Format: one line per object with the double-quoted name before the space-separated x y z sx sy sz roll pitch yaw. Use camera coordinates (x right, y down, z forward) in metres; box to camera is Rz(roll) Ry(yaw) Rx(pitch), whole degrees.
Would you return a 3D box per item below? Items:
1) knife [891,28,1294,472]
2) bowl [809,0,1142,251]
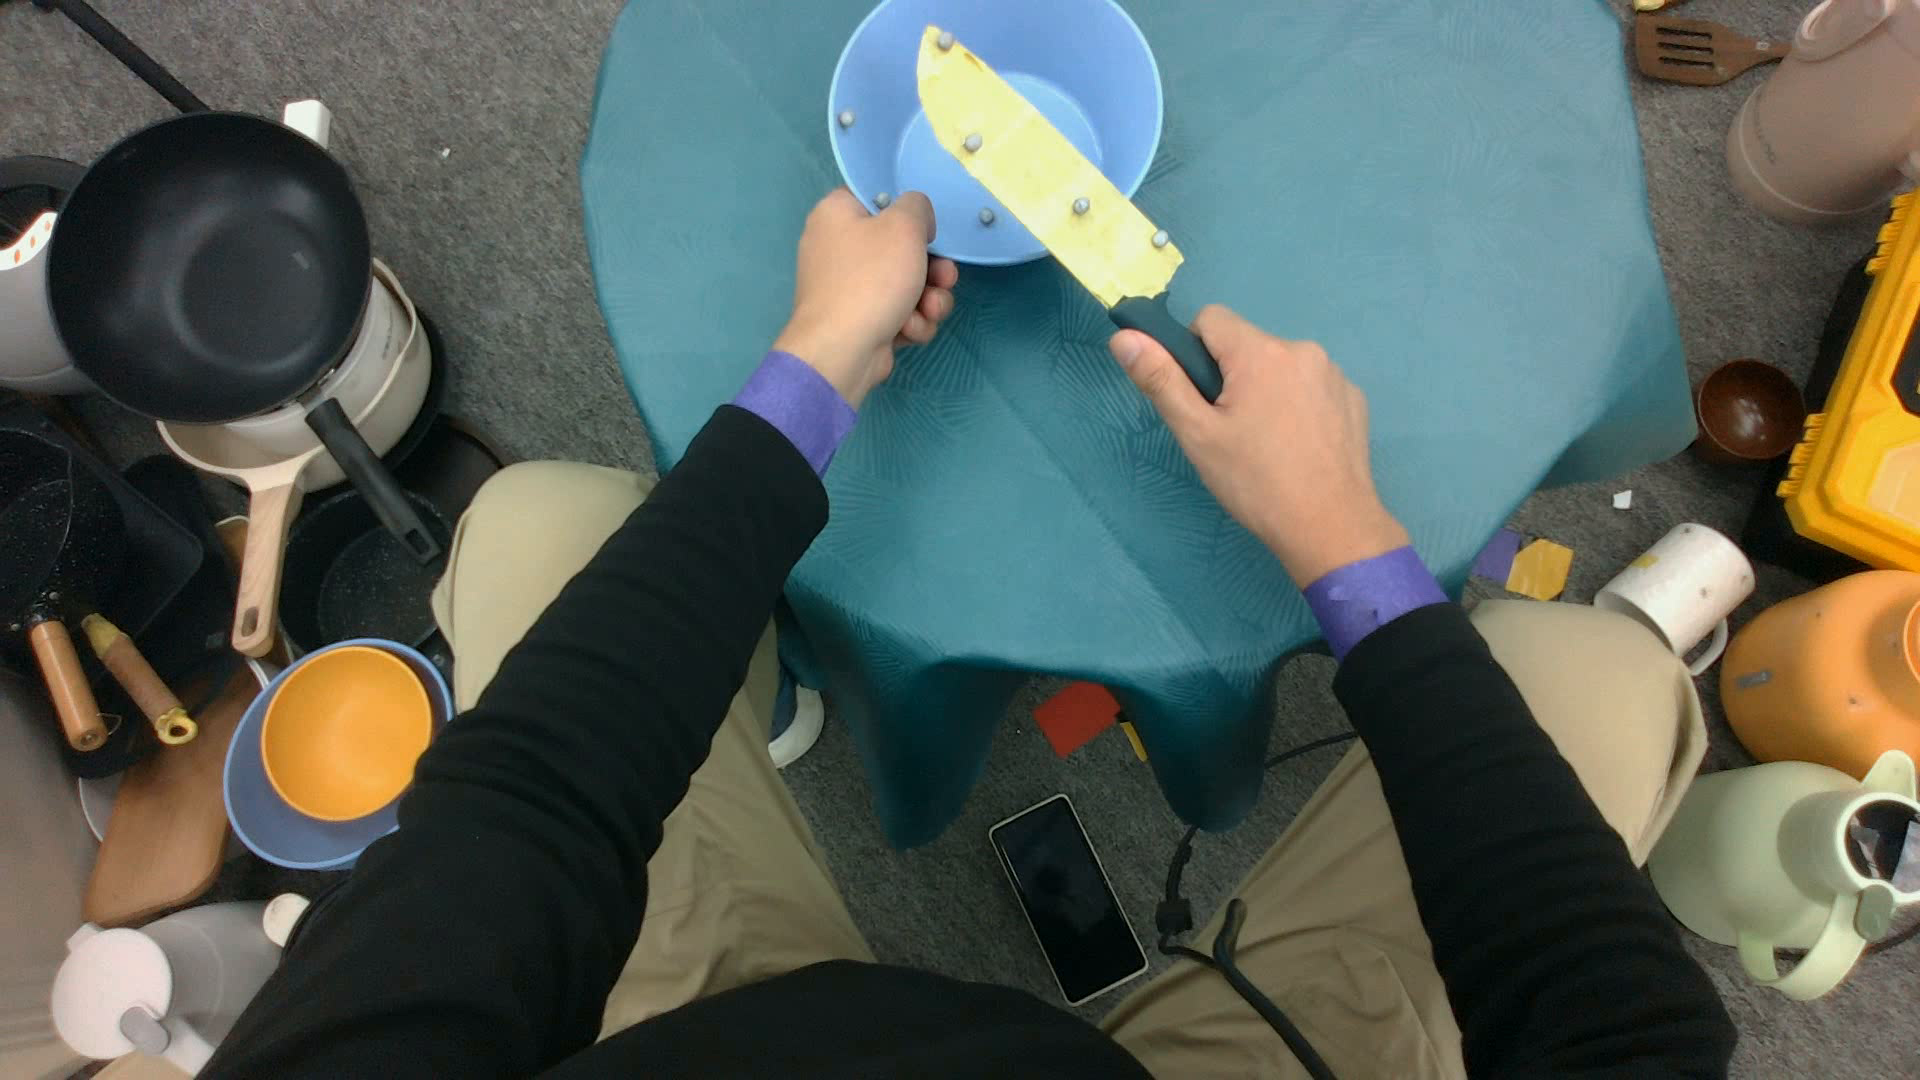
"knife" 0.069 -0.146 0.687 0.289 0.027 0.081 46 52 -7
"bowl" 0.009 -0.227 0.756 0.176 0.070 0.176 0 76 2
